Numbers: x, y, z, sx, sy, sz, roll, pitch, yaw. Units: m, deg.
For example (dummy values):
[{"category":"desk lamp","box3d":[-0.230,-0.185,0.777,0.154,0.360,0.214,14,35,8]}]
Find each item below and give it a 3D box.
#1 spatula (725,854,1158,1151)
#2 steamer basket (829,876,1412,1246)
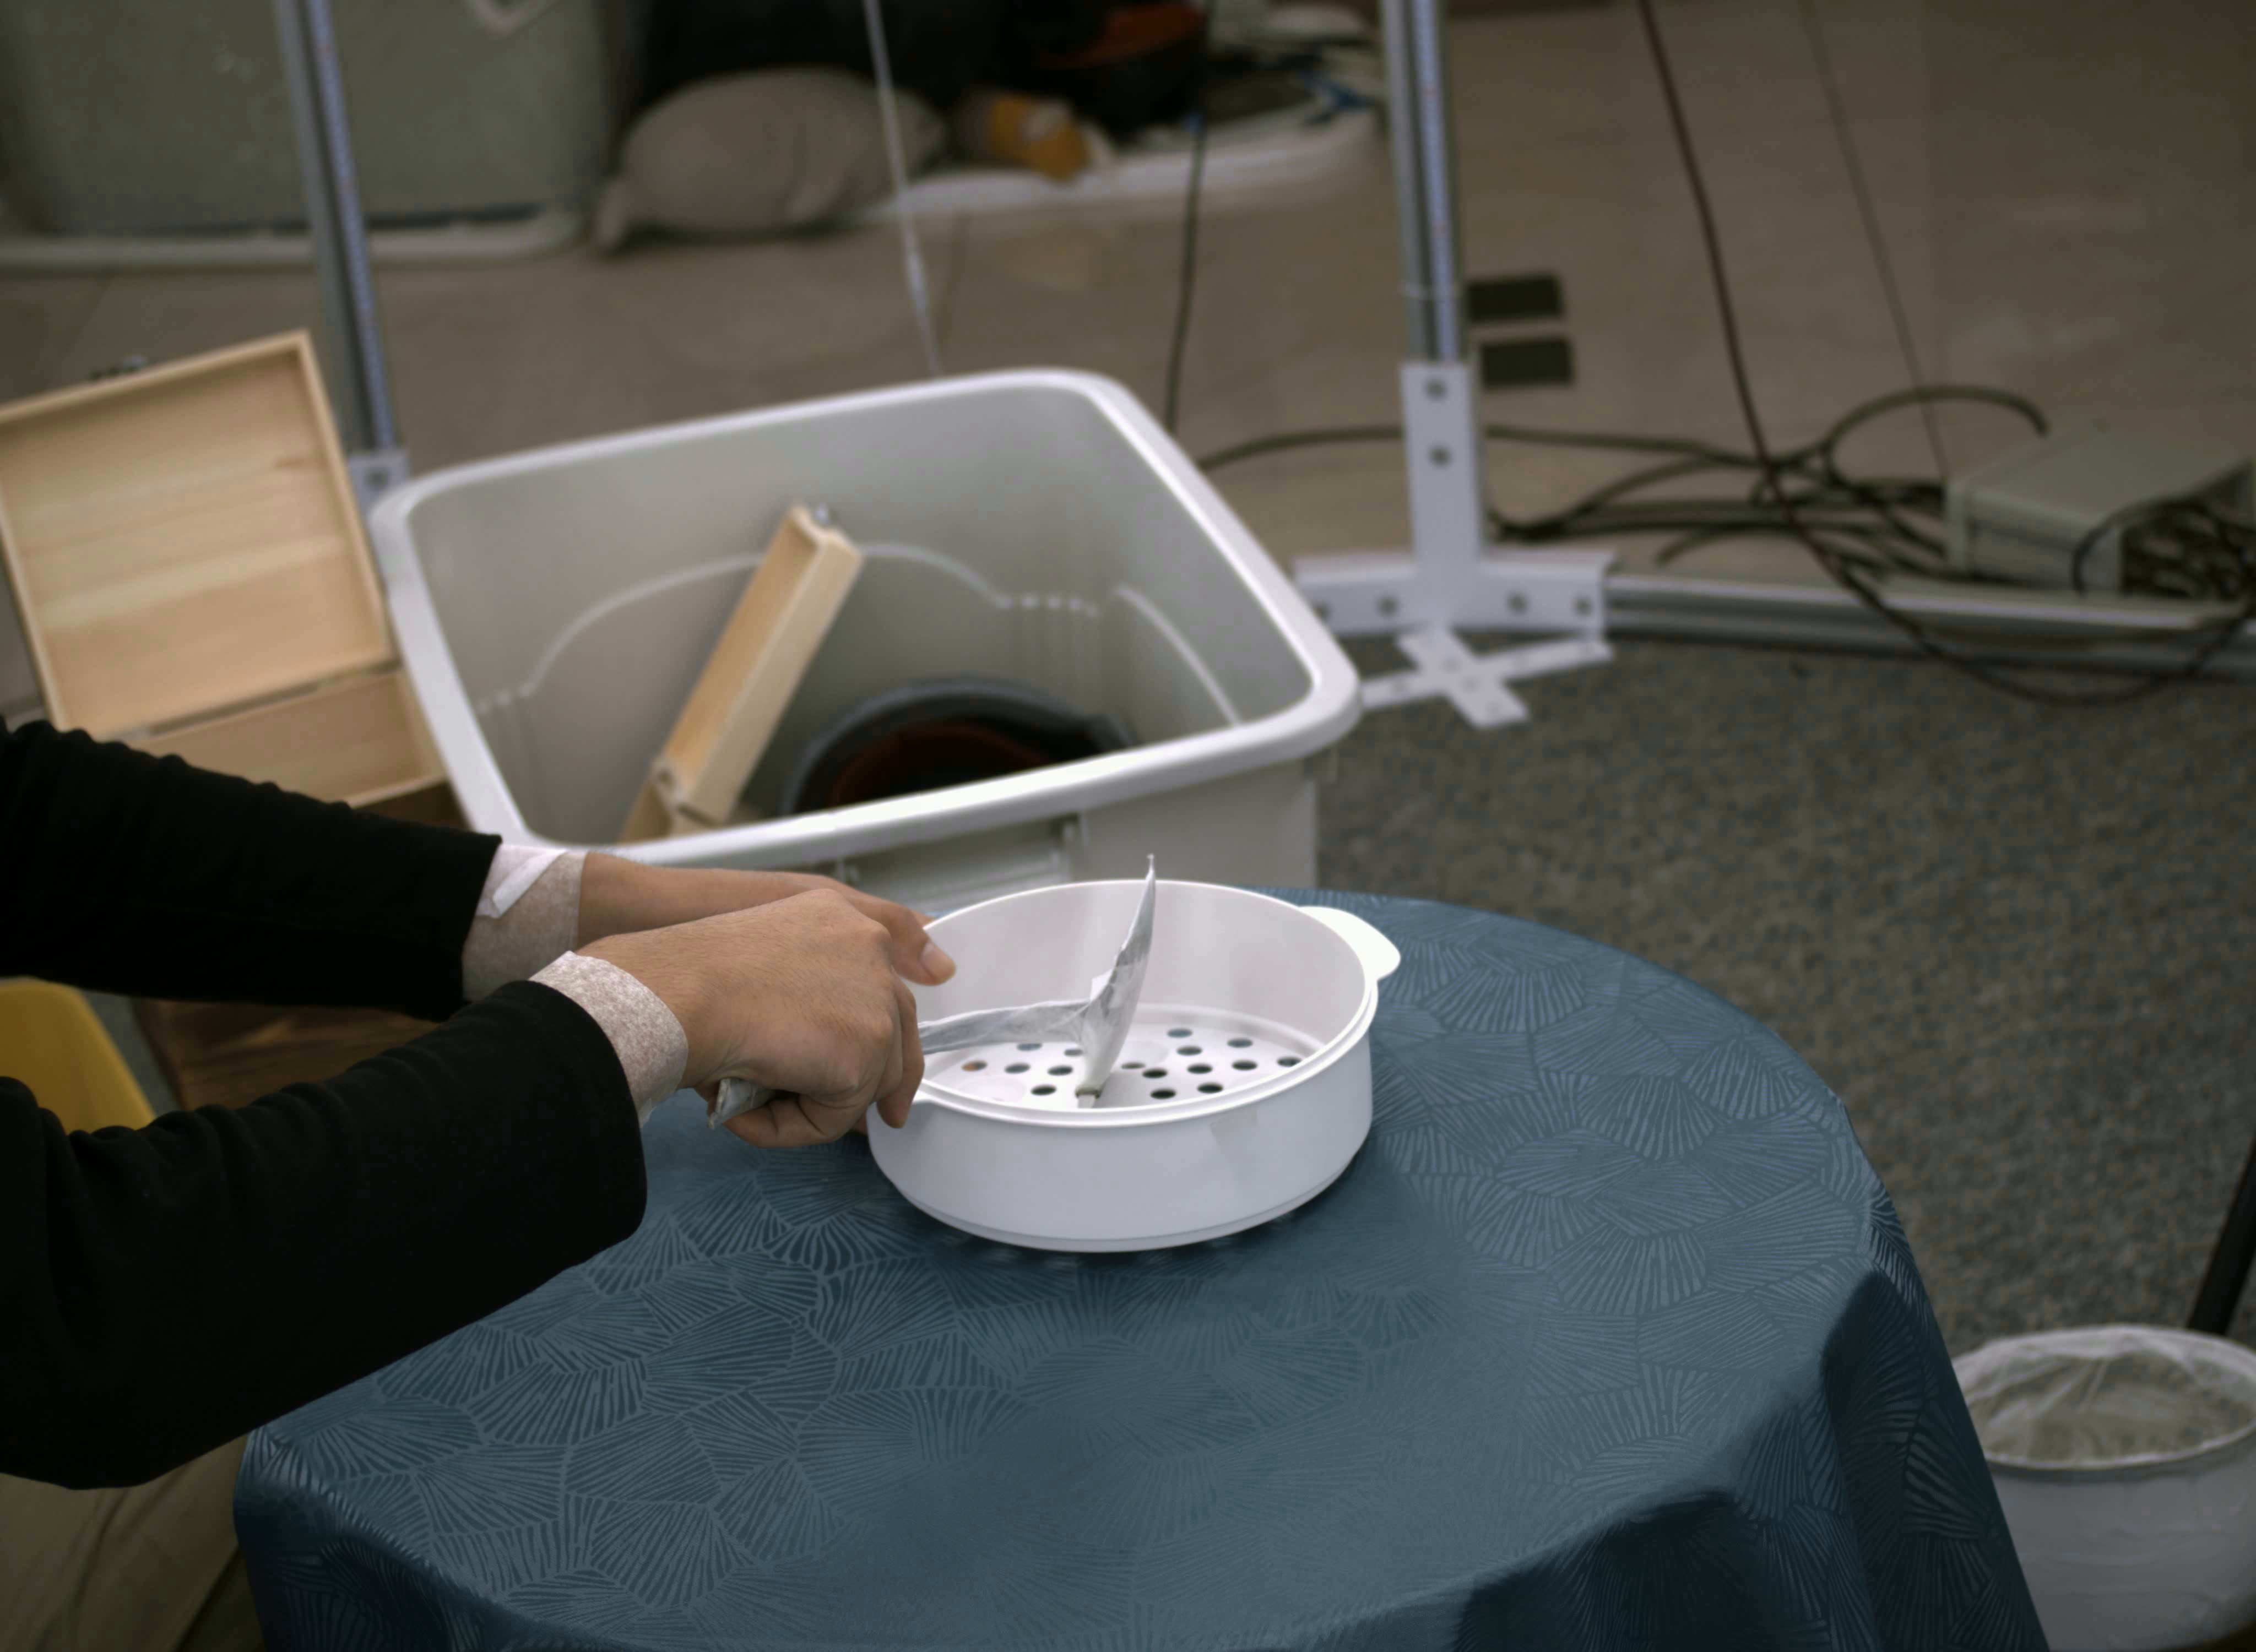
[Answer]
[{"category":"spatula","box3d":[-0.065,0.075,2.044,0.044,0.100,0.364,25,16,24]},{"category":"steamer basket","box3d":[0.000,0.090,2.162,0.229,0.070,0.199,-14,27,-21]}]
